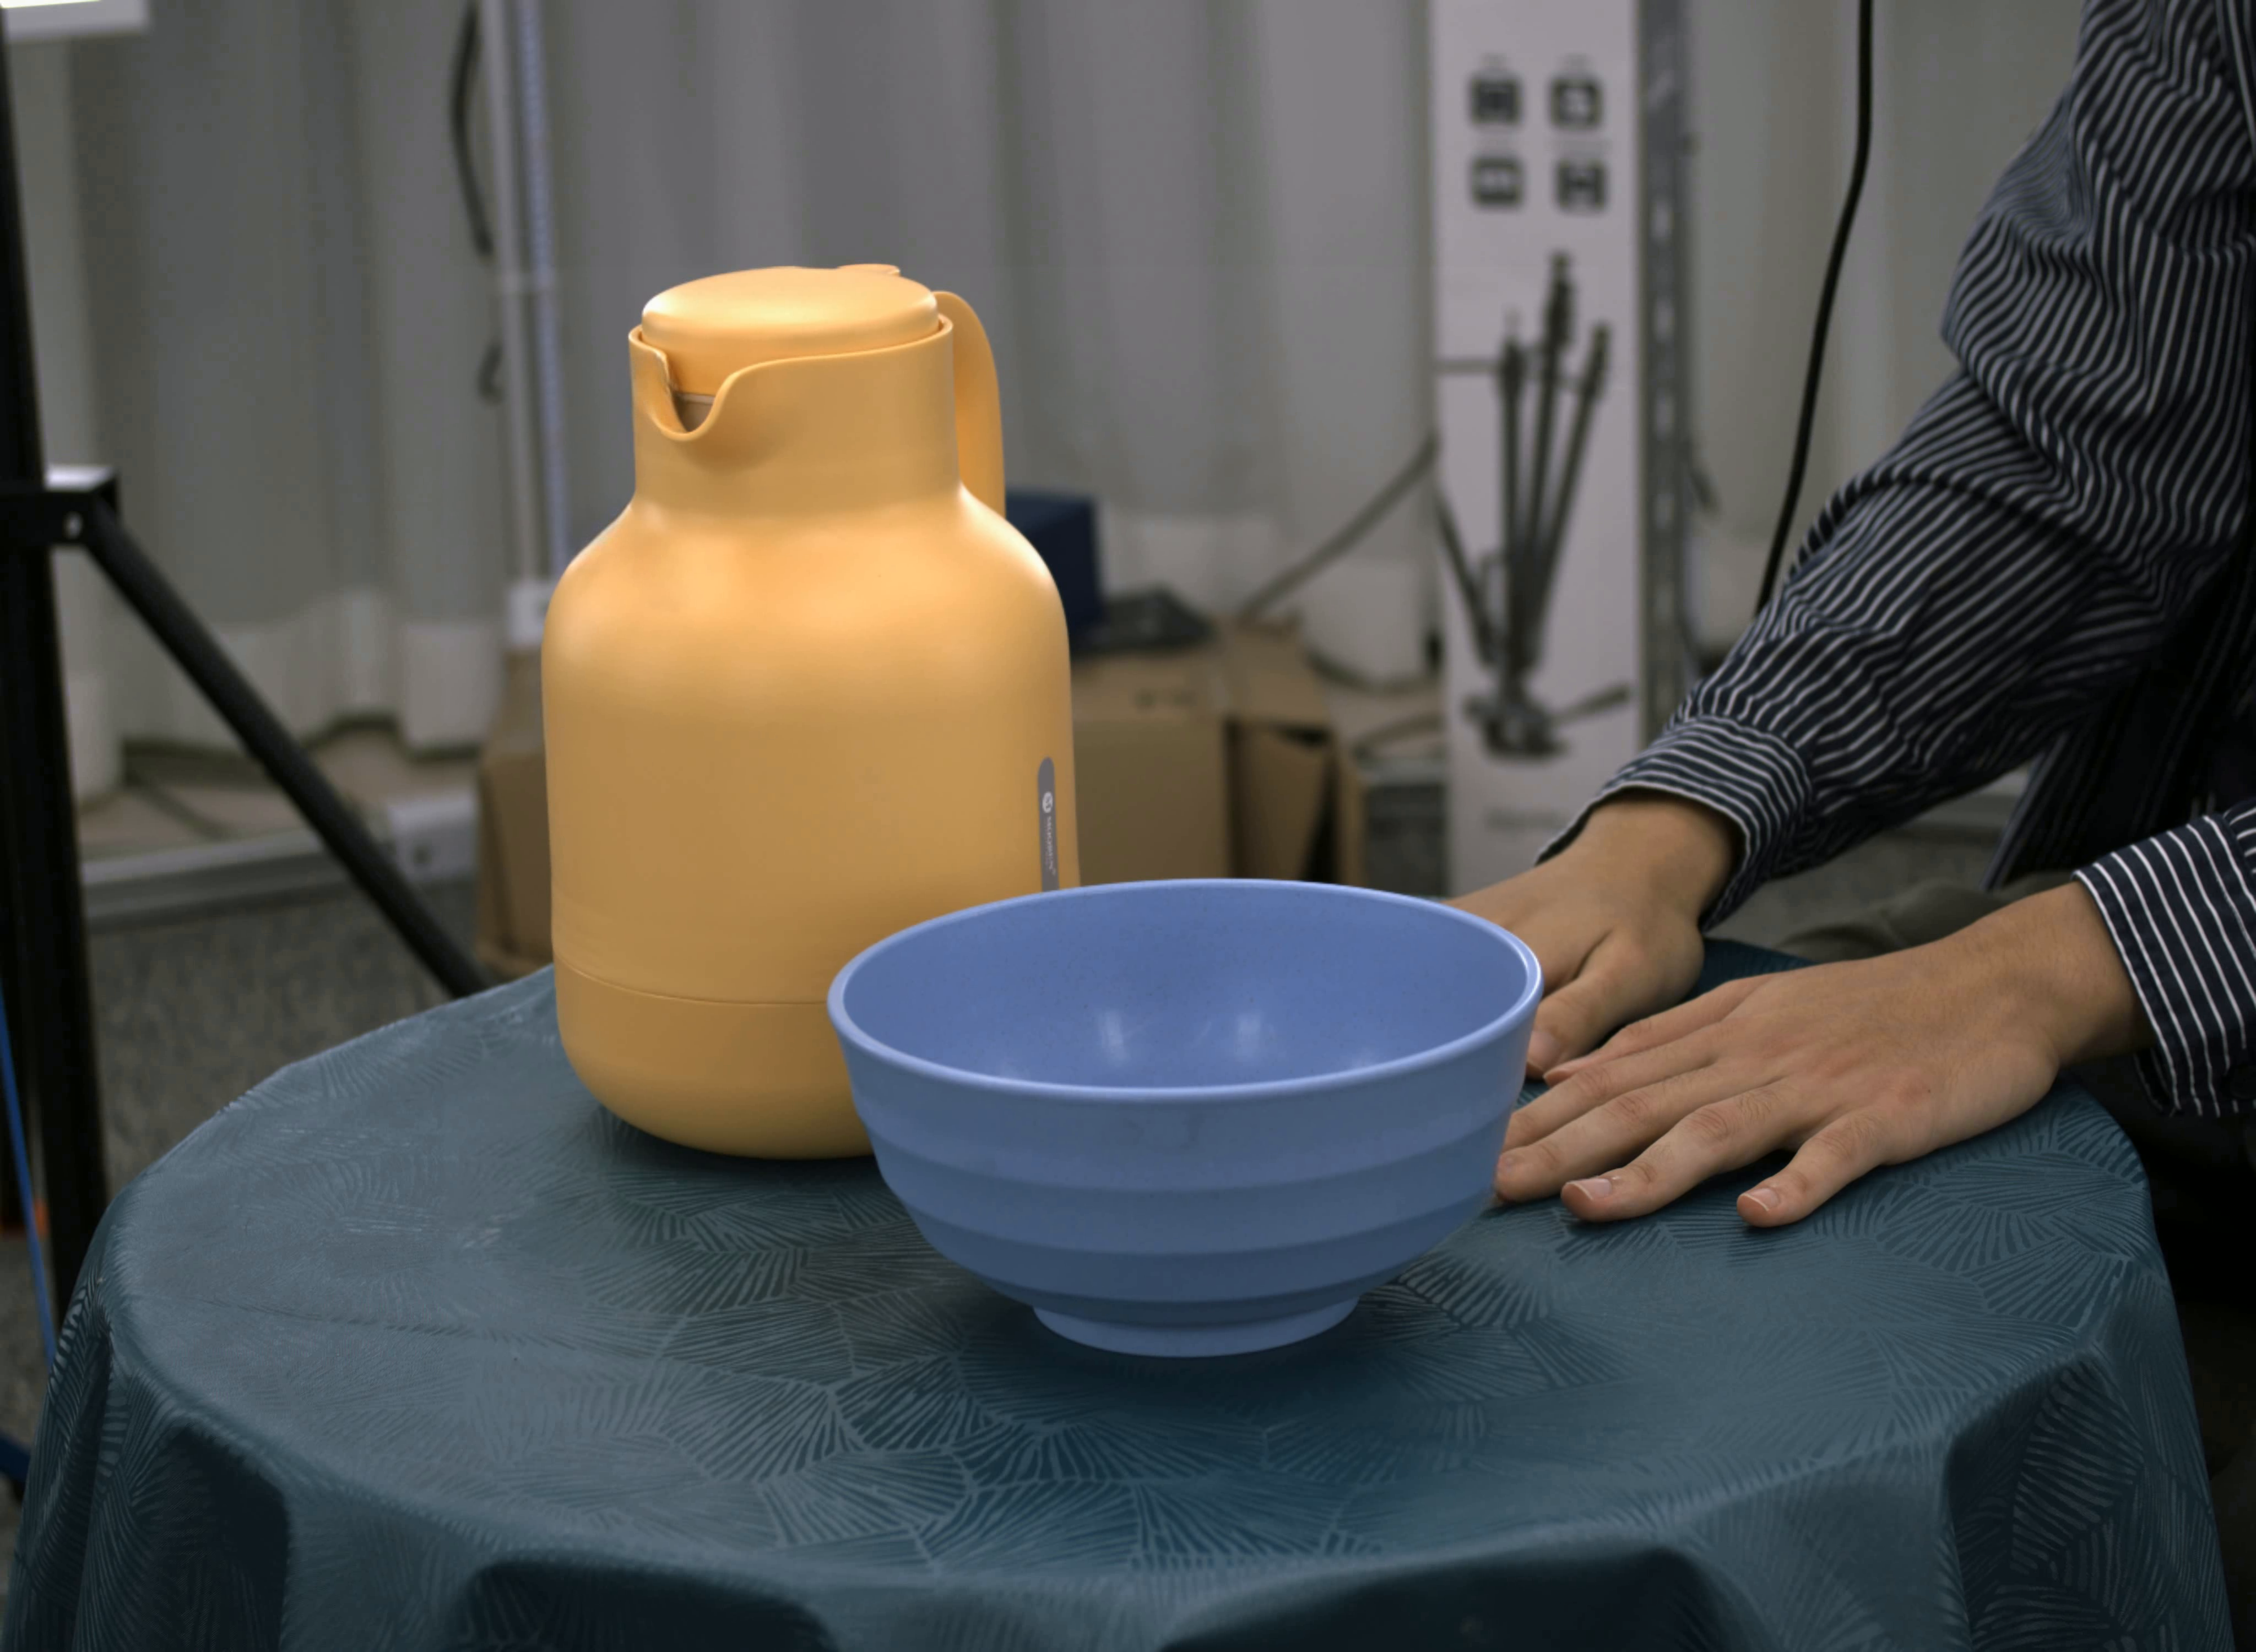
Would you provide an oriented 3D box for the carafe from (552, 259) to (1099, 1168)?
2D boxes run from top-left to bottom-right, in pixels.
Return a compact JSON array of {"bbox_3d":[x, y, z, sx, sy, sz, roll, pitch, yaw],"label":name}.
[{"bbox_3d":[-0.084,-0.042,1.624,0.166,0.260,0.199,4,16,23],"label":"carafe"}]

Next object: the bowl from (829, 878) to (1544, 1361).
[{"bbox_3d":[0.017,0.087,1.463,0.195,0.095,0.197,-3,16,-1],"label":"bowl"}]
